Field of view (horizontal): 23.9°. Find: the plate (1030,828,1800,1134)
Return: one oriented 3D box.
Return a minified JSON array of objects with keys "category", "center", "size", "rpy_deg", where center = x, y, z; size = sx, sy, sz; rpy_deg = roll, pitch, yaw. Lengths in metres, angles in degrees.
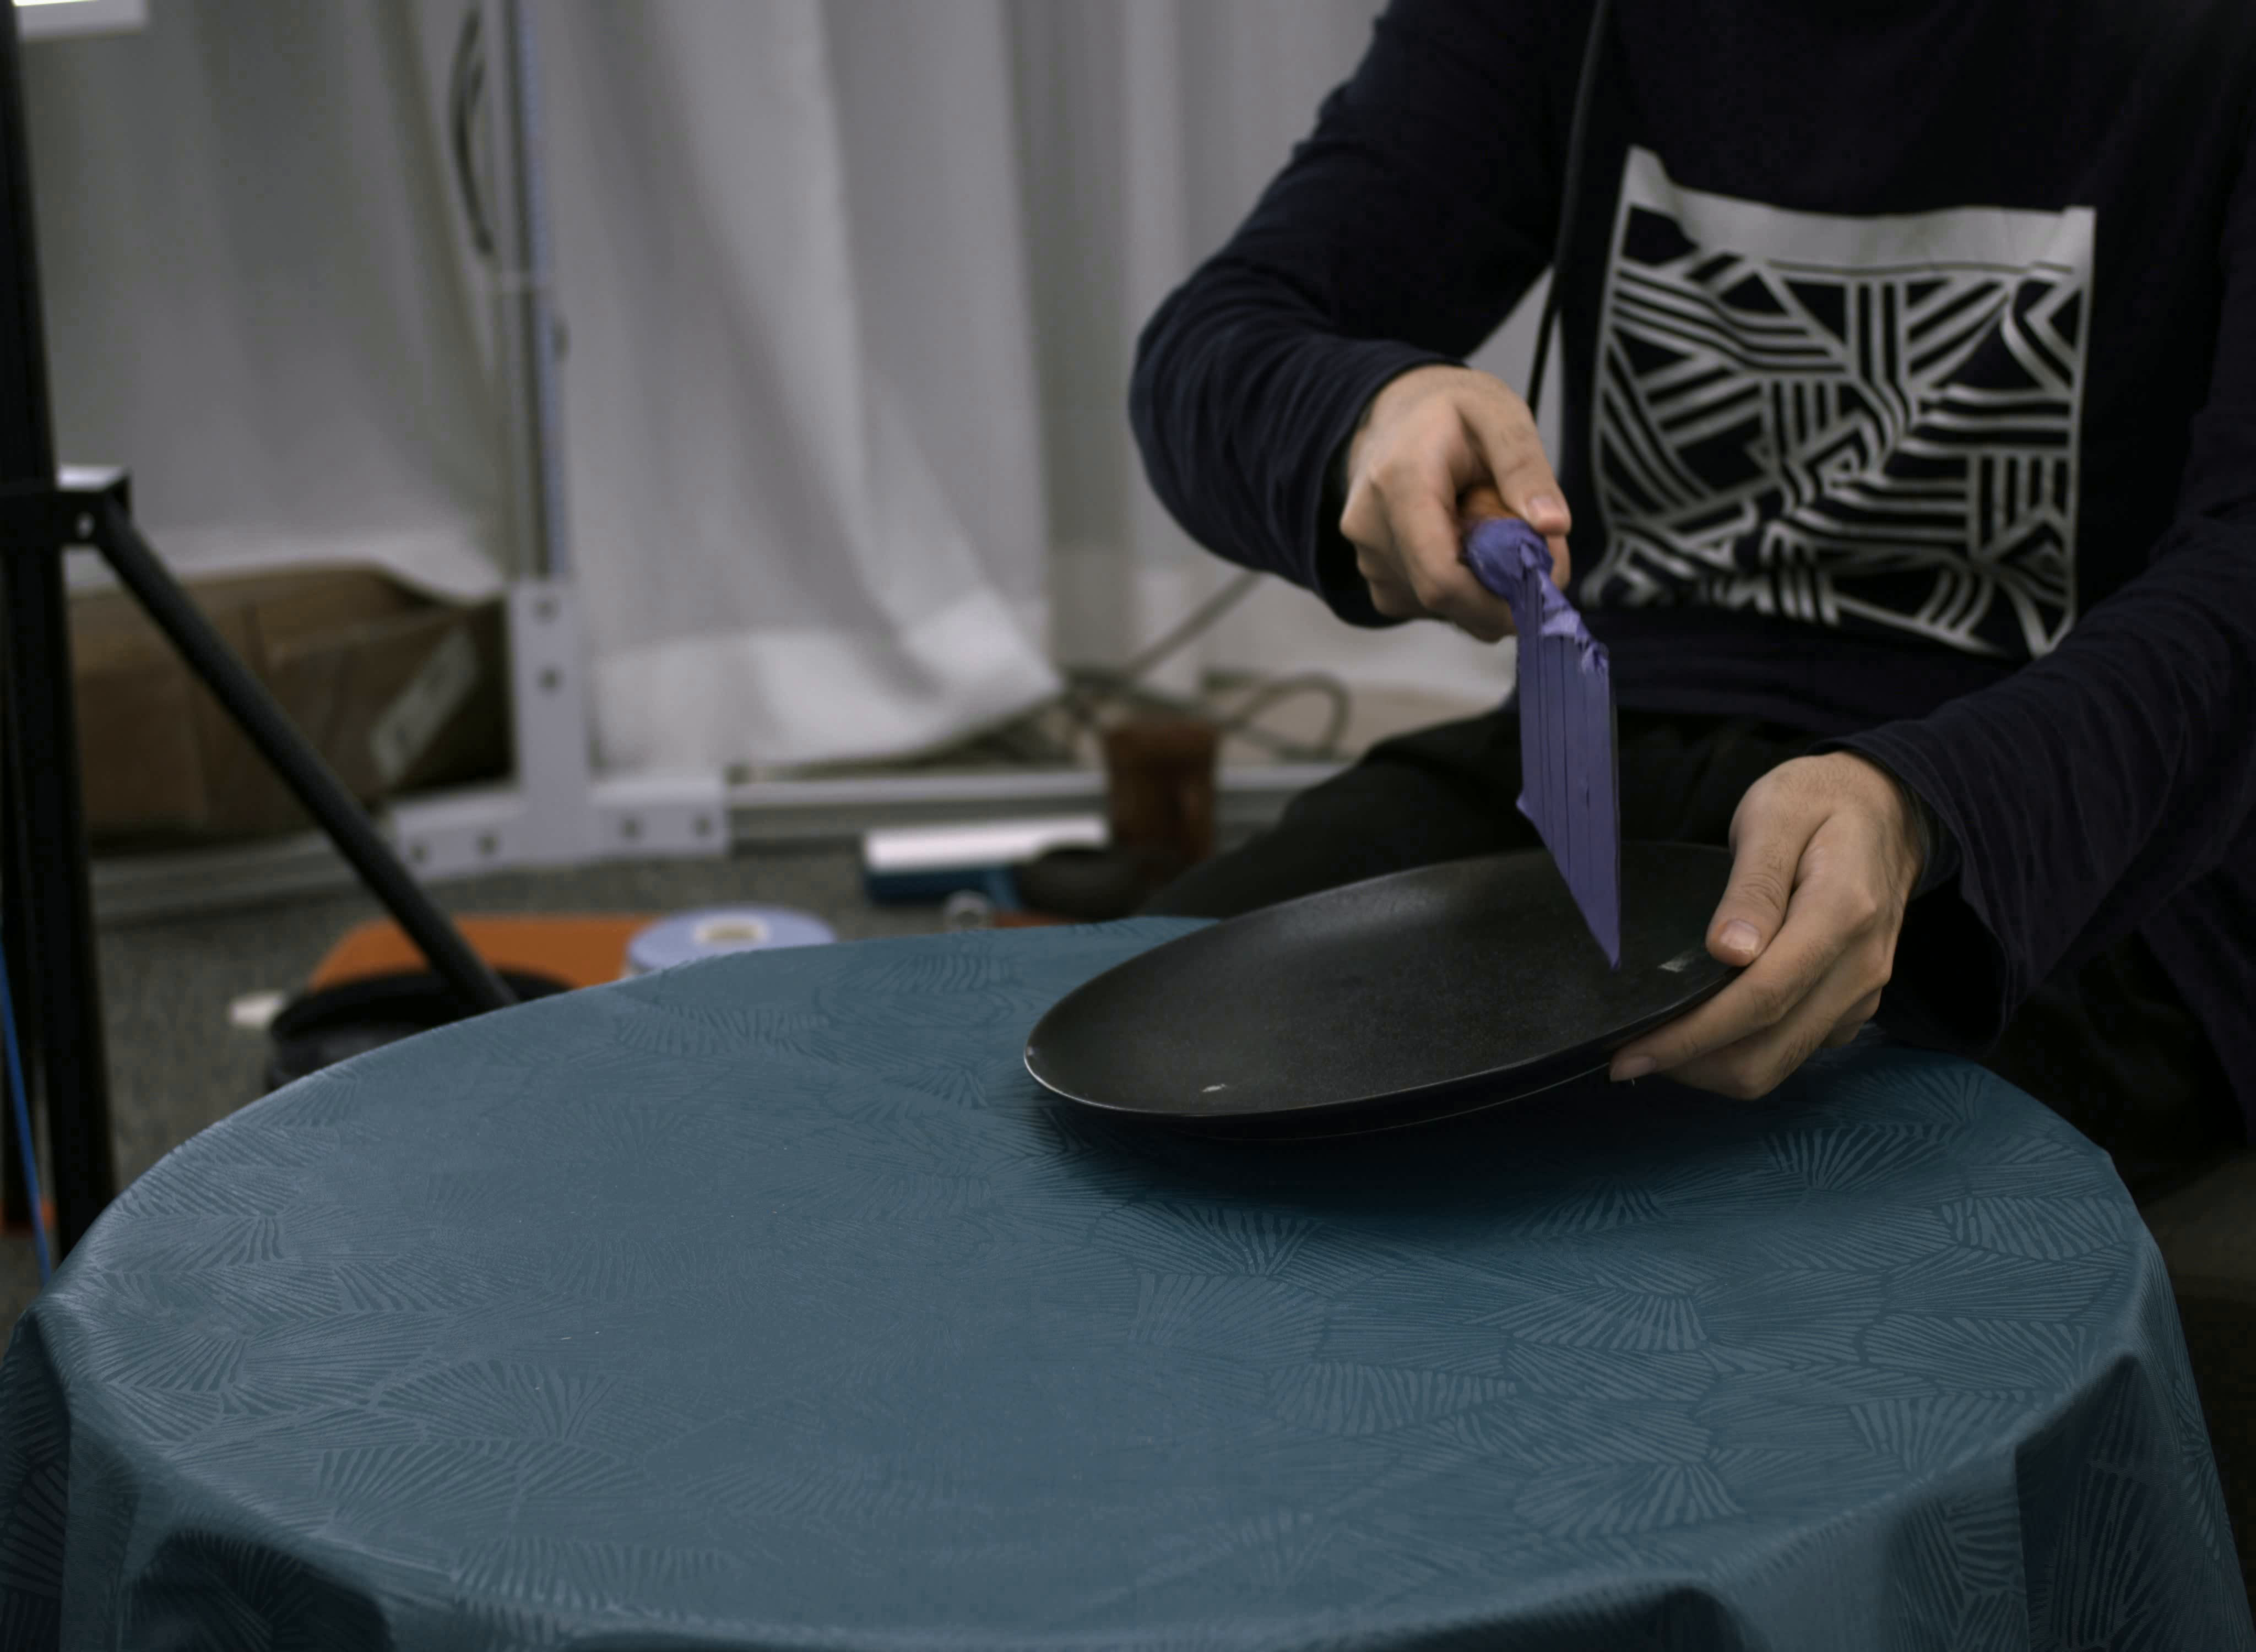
[{"category":"plate","center":[0.089,0.052,1.635],"size":[0.244,0.023,0.245],"rpy_deg":[-15,13,2]}]

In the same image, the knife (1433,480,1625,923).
[{"category":"knife","center":[0.124,-0.041,1.654],"size":[0.032,0.104,0.316],"rpy_deg":[-2,12,-1]}]
